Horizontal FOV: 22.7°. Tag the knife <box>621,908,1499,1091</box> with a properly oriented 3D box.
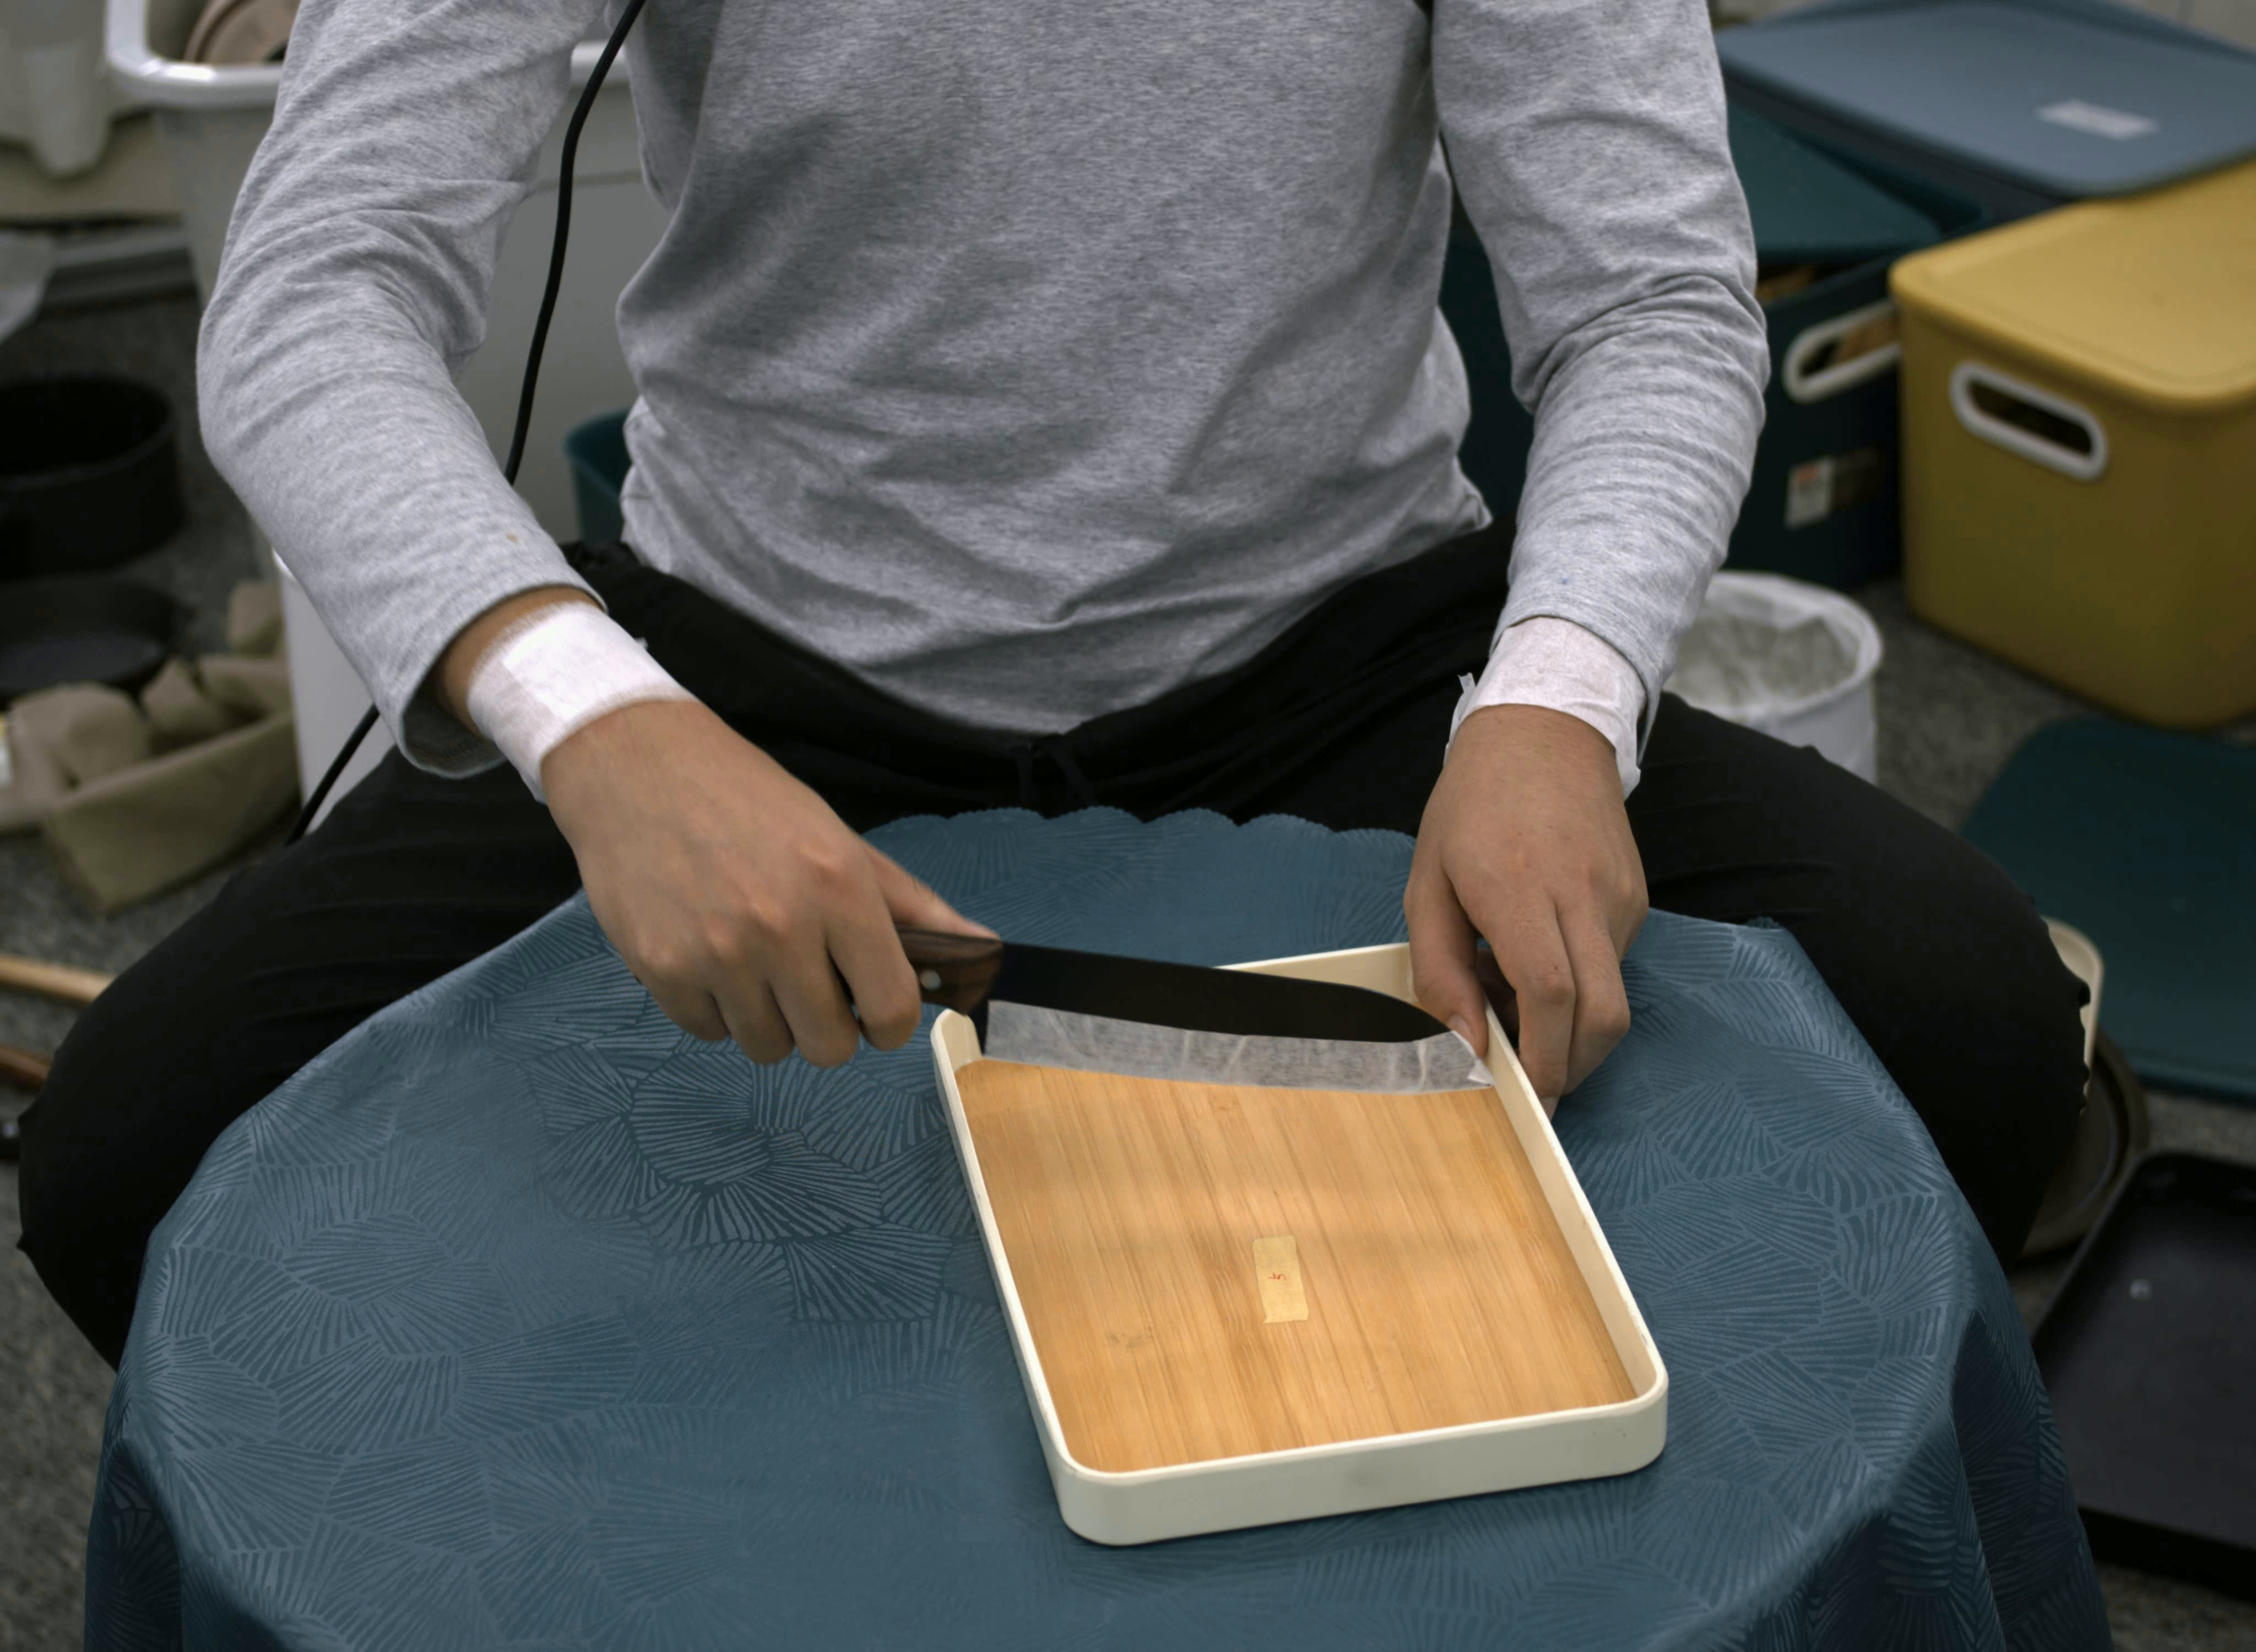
[{"bbox_3d":[-0.022,0.058,1.820,0.288,0.049,0.020,8,28,2],"label":"knife"}]

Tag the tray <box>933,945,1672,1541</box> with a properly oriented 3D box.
[{"bbox_3d":[0.050,0.128,1.815,0.191,0.027,0.304,-7,27,-8],"label":"tray"}]
